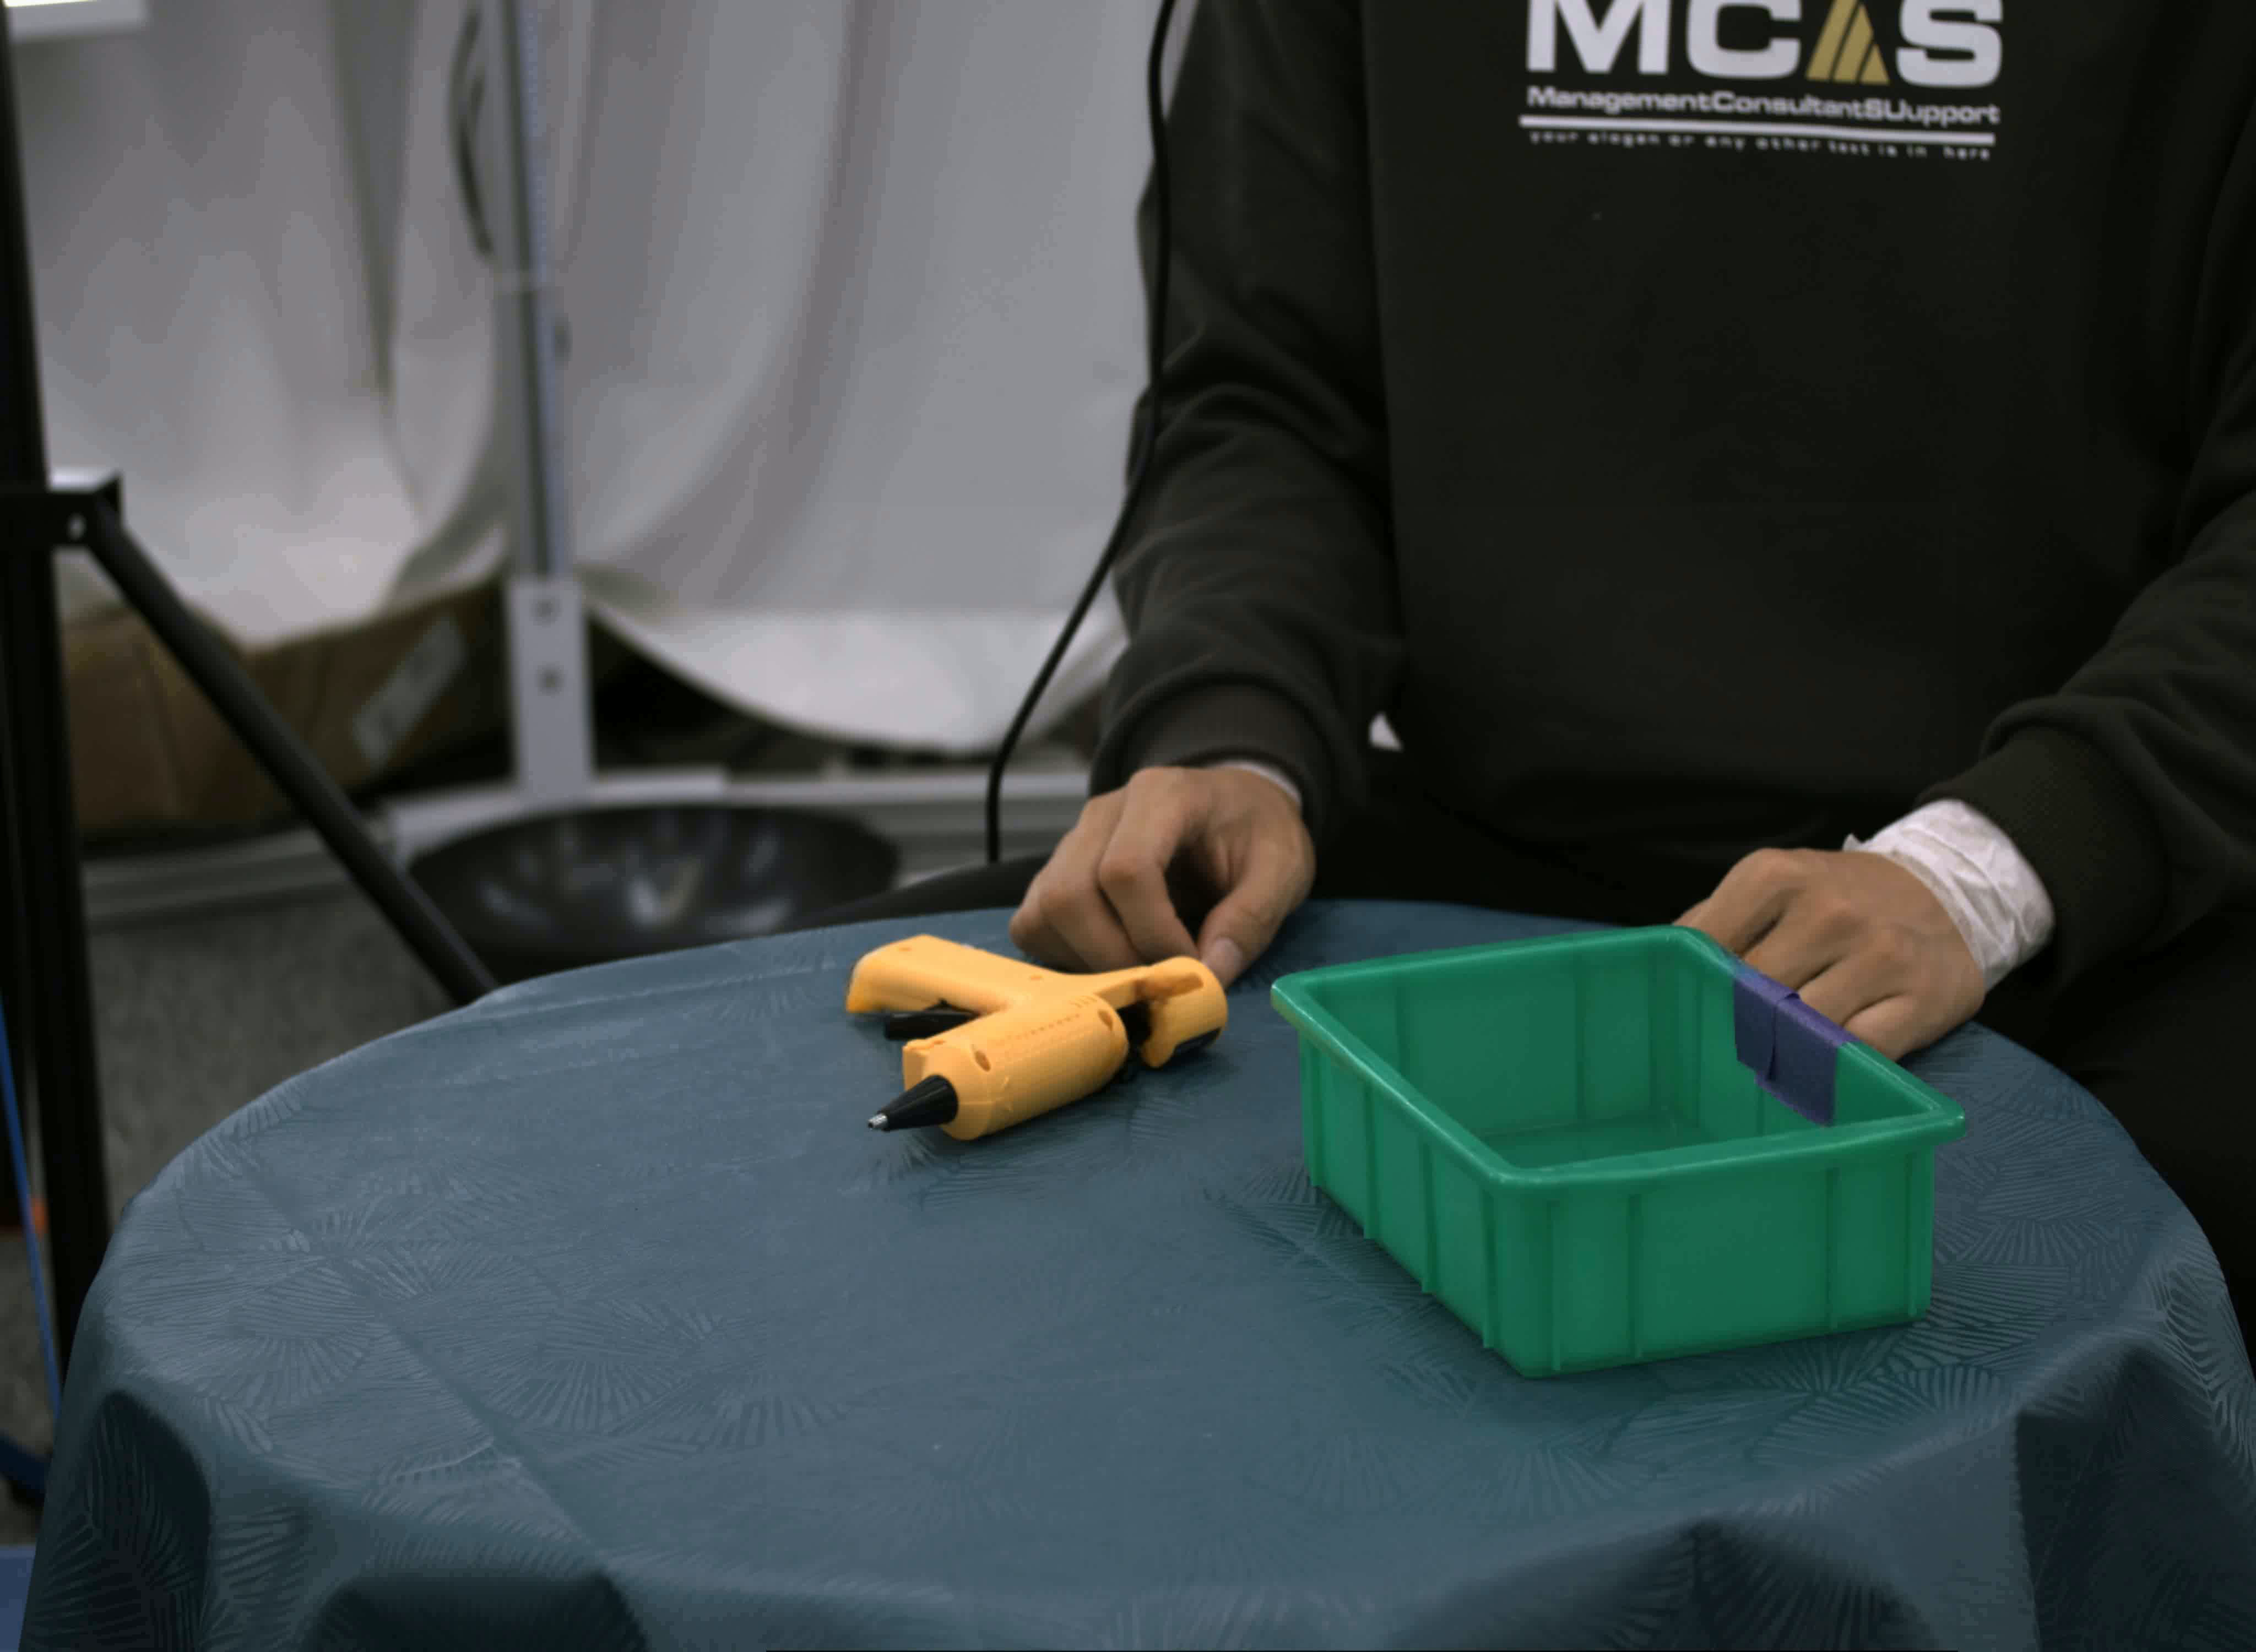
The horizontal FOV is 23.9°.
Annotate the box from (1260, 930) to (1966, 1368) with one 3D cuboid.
[{"bbox_3d":[0.132,0.089,1.487,0.136,0.065,0.214,-5,14,-17],"label":"box"}]

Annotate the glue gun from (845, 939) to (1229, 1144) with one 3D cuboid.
[{"bbox_3d":[-0.062,0.068,1.662,0.136,0.031,0.148,8,18,37],"label":"glue gun"}]
